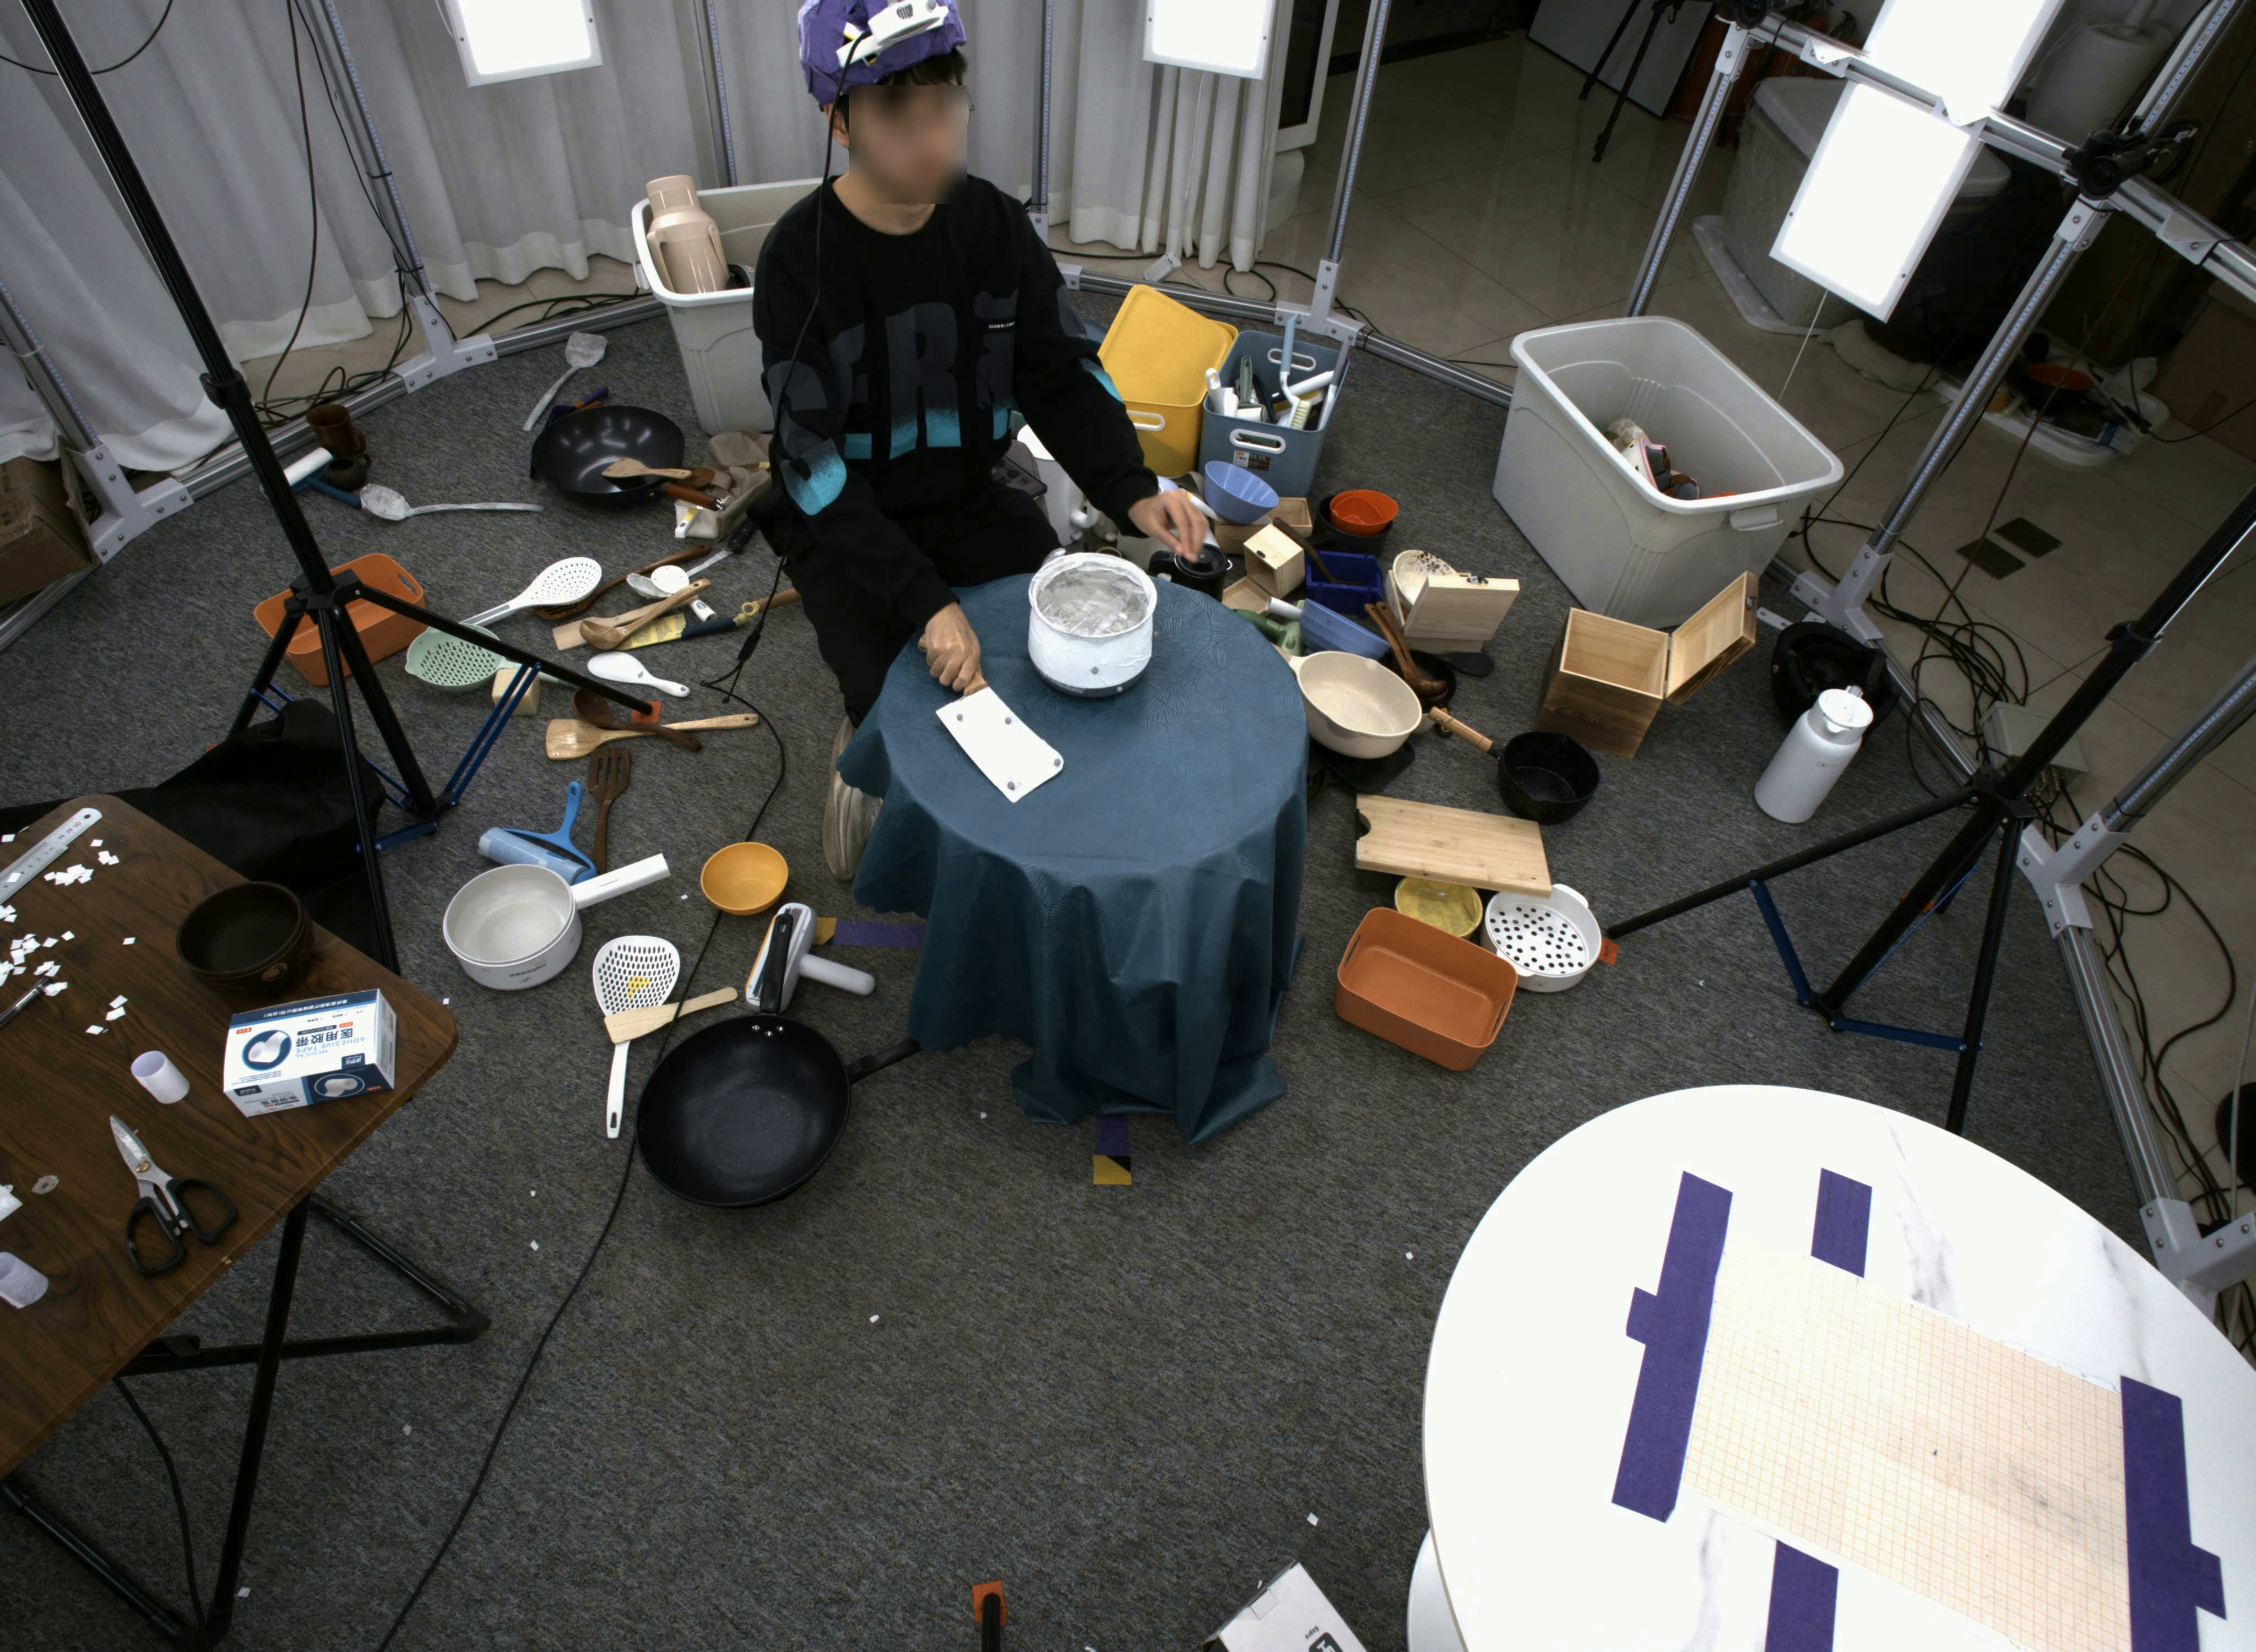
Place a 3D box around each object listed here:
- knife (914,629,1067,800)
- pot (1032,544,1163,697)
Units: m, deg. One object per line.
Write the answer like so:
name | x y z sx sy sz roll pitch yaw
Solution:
knife | -0.200 -0.162 1.771 0.114 0.021 0.321 -28 62 -20
pot | -0.060 -0.302 1.832 0.179 0.133 0.238 -20 57 -21
